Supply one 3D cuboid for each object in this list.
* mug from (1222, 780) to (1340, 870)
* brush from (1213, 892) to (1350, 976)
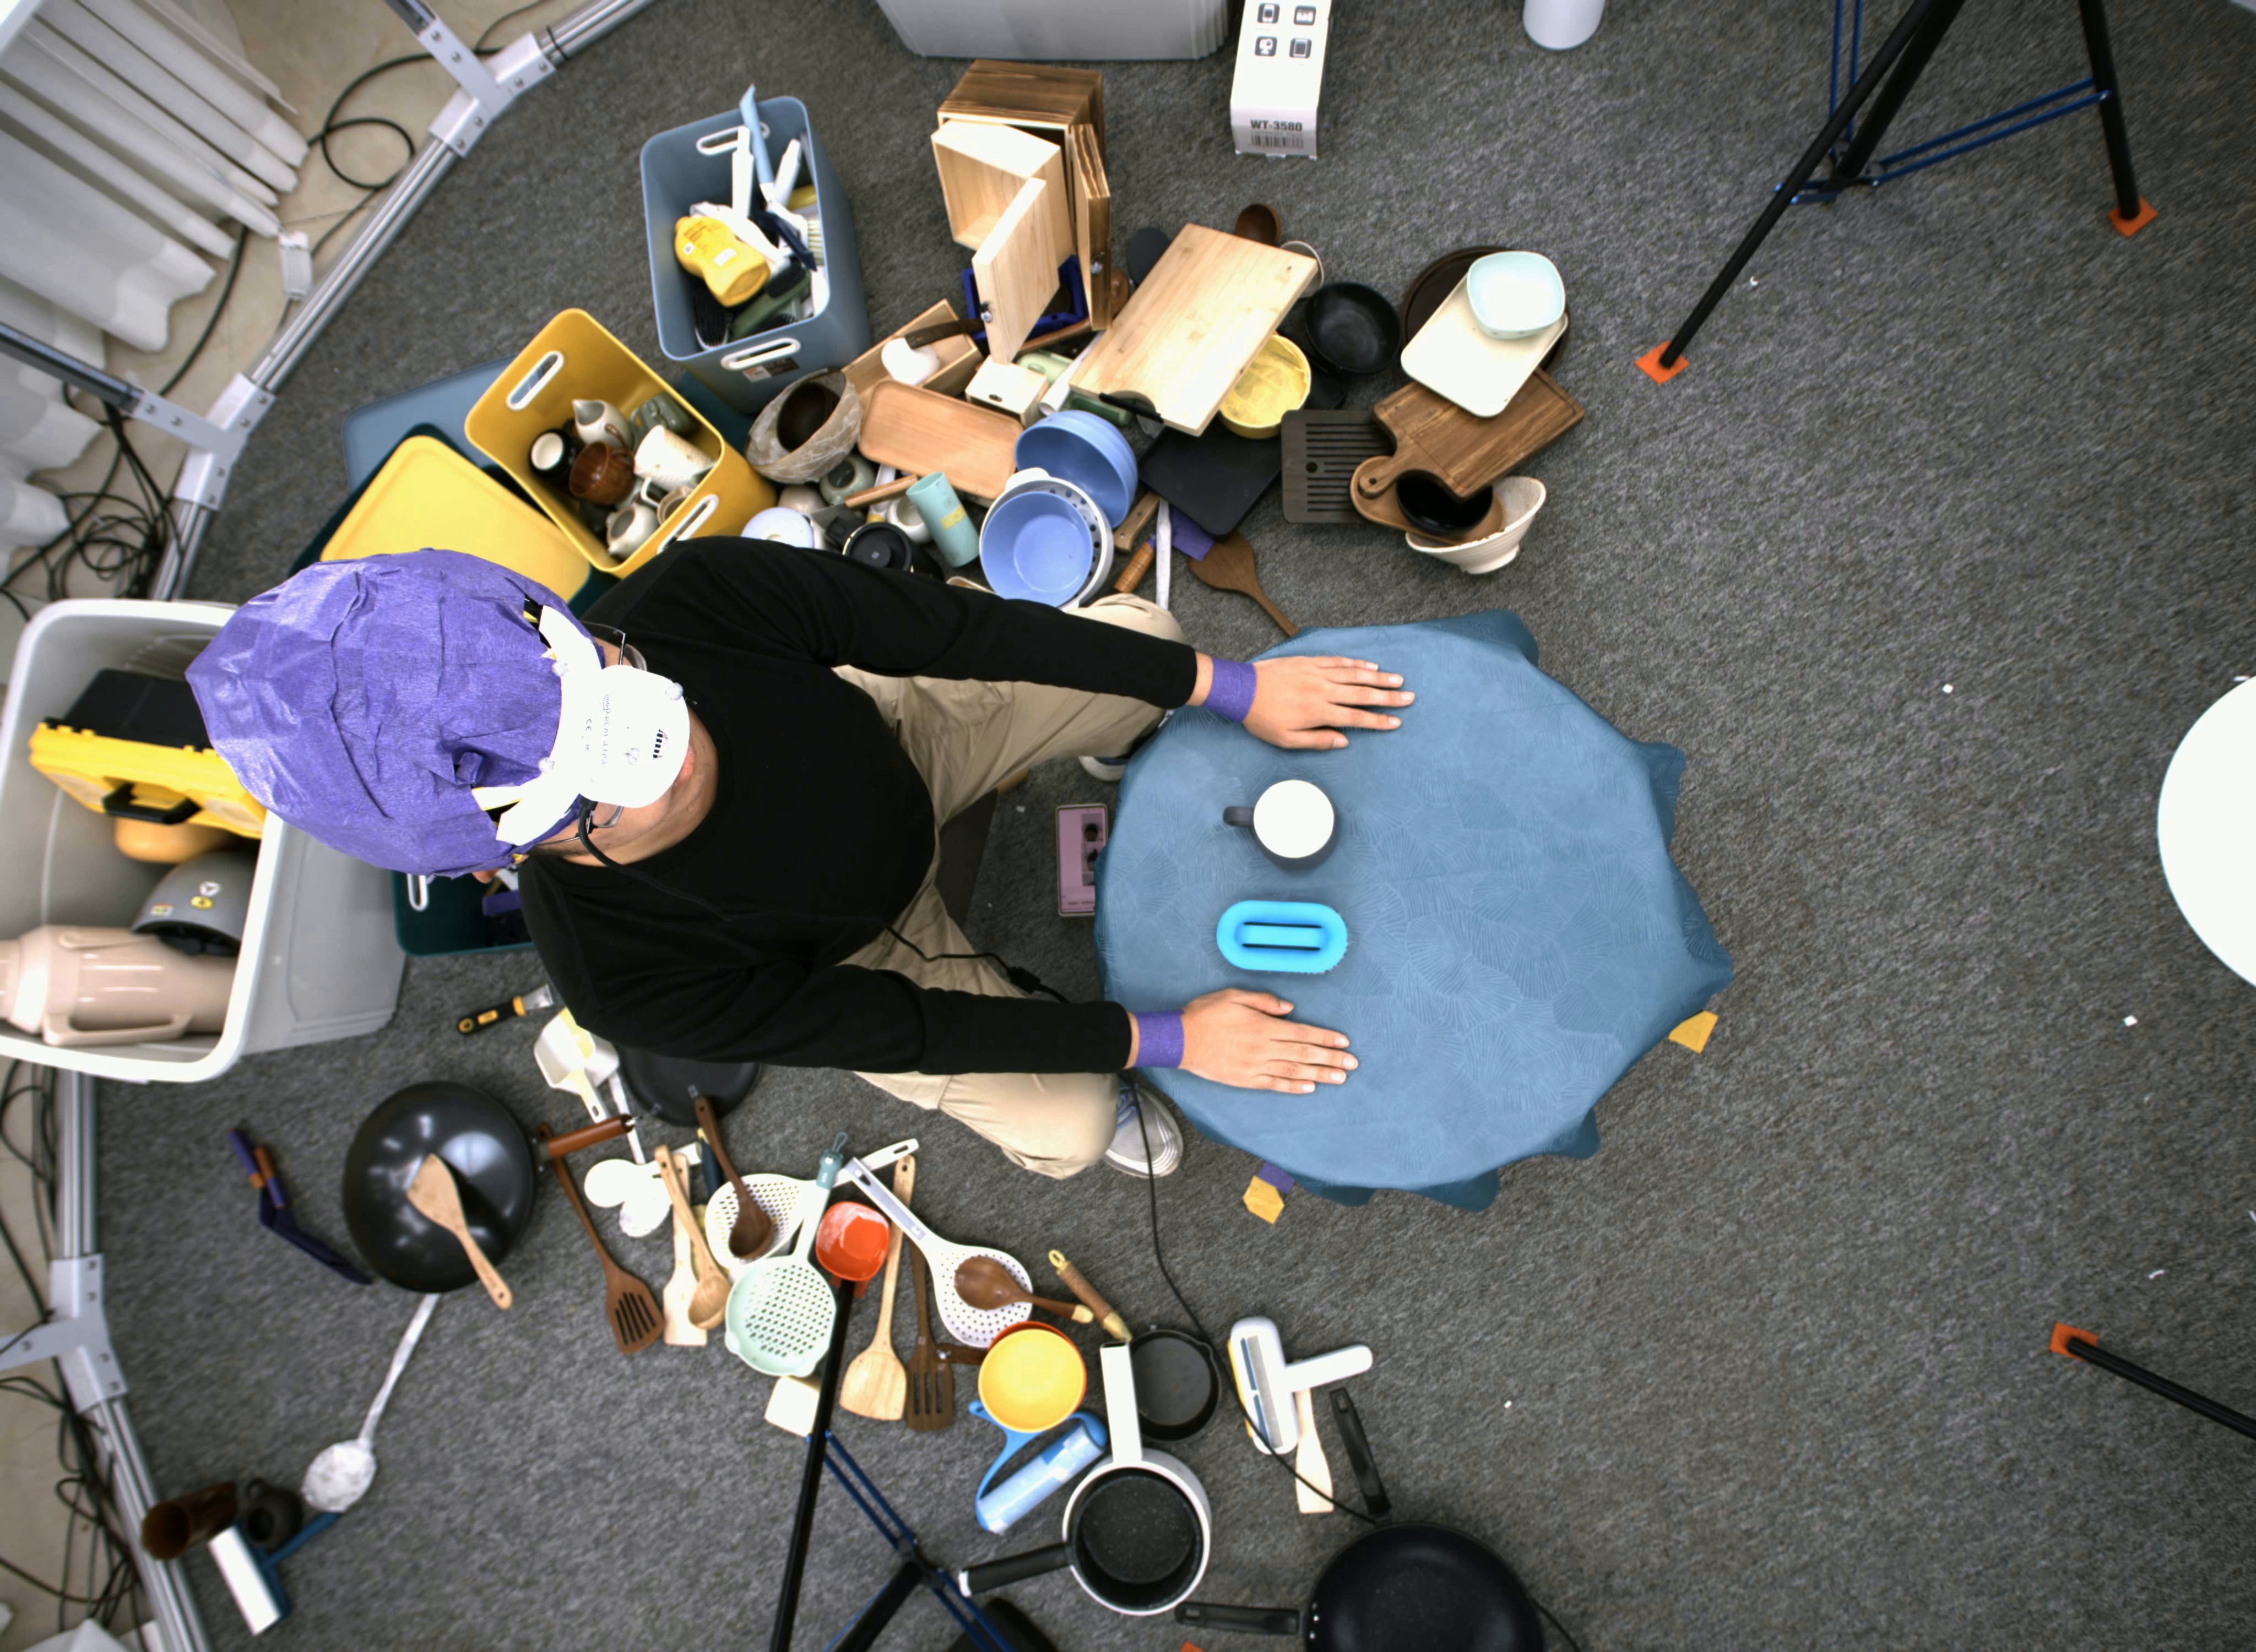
[{"bbox_3d":[0.159,-0.006,1.436,0.123,0.090,0.093,9,86,9],"label":"mug"},{"bbox_3d":[0.159,0.112,1.444,0.142,0.063,0.084,3,91,11],"label":"brush"}]
